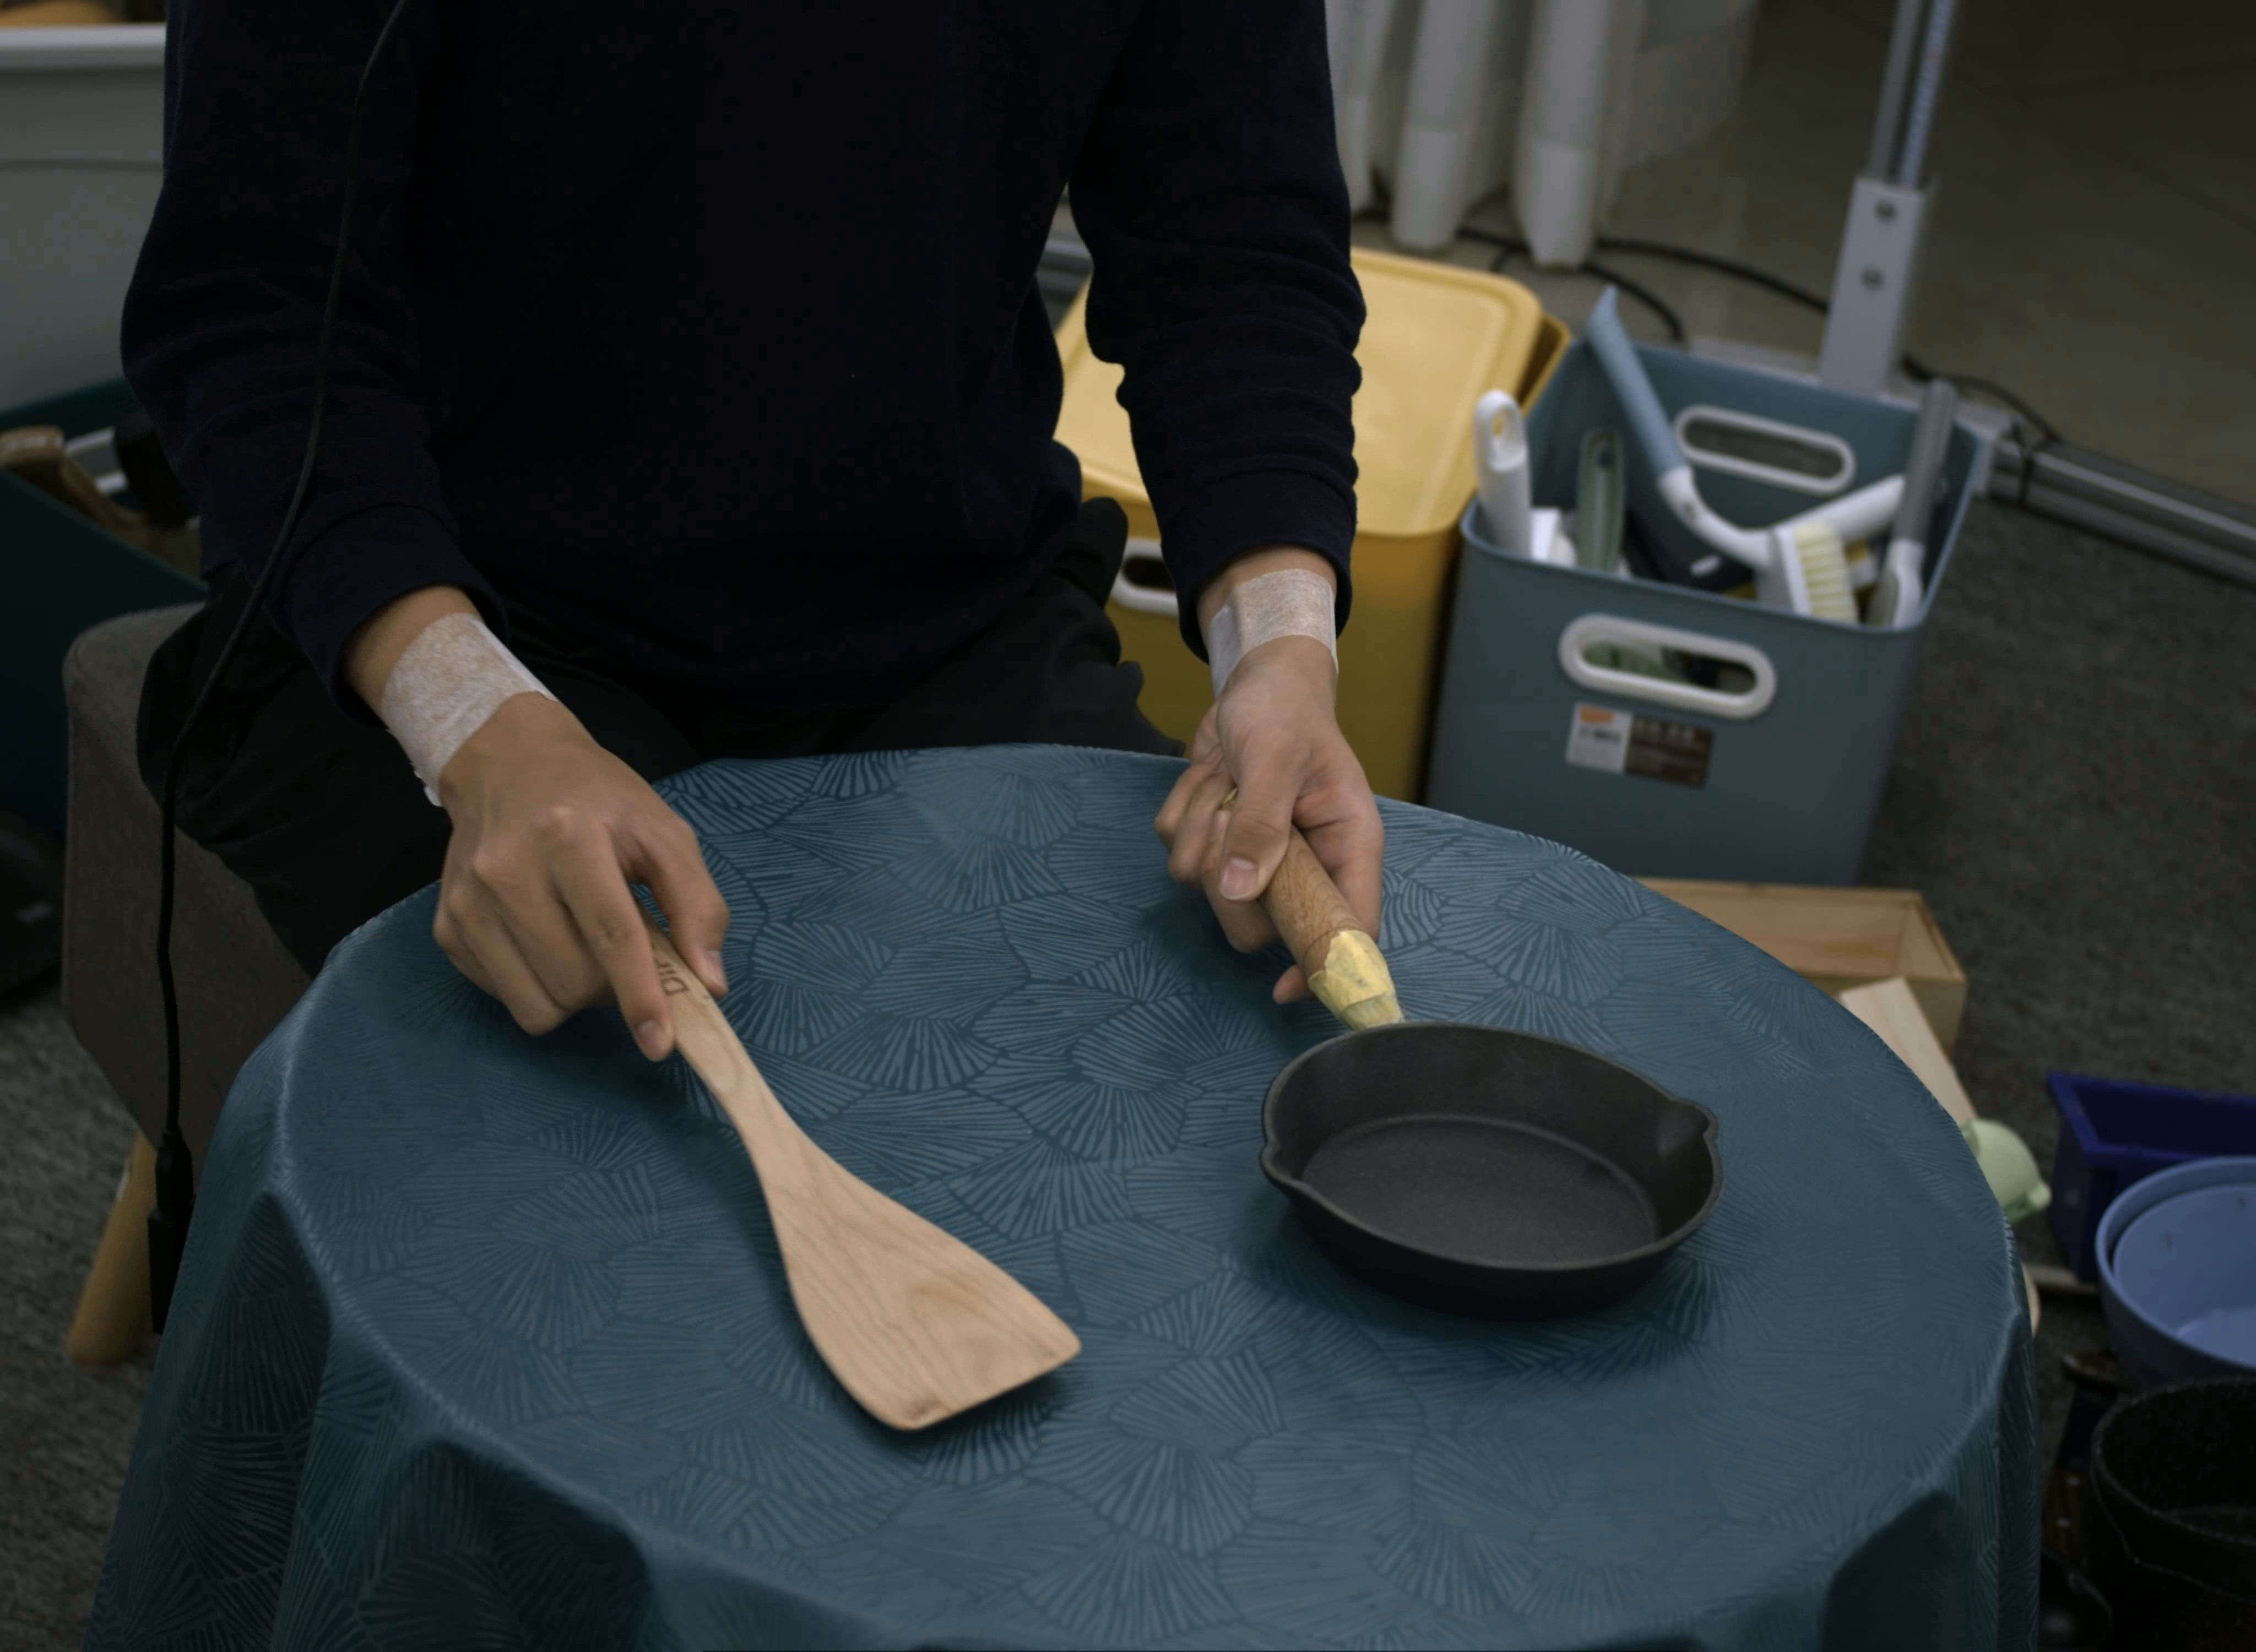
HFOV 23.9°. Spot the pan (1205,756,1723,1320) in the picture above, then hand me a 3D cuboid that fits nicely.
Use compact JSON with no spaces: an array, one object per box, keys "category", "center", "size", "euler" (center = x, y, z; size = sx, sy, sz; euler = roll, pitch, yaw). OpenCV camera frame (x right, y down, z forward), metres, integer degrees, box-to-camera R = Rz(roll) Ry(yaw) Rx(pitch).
[{"category":"pan","center":[0.093,0.072,1.865],"size":[0.168,0.049,0.327],"euler":[-4,31,-20]}]

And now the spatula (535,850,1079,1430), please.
[{"category":"spatula","center":[-0.121,0.096,1.771],"size":[0.079,0.016,0.331],"euler":[-13,40,-27]}]
